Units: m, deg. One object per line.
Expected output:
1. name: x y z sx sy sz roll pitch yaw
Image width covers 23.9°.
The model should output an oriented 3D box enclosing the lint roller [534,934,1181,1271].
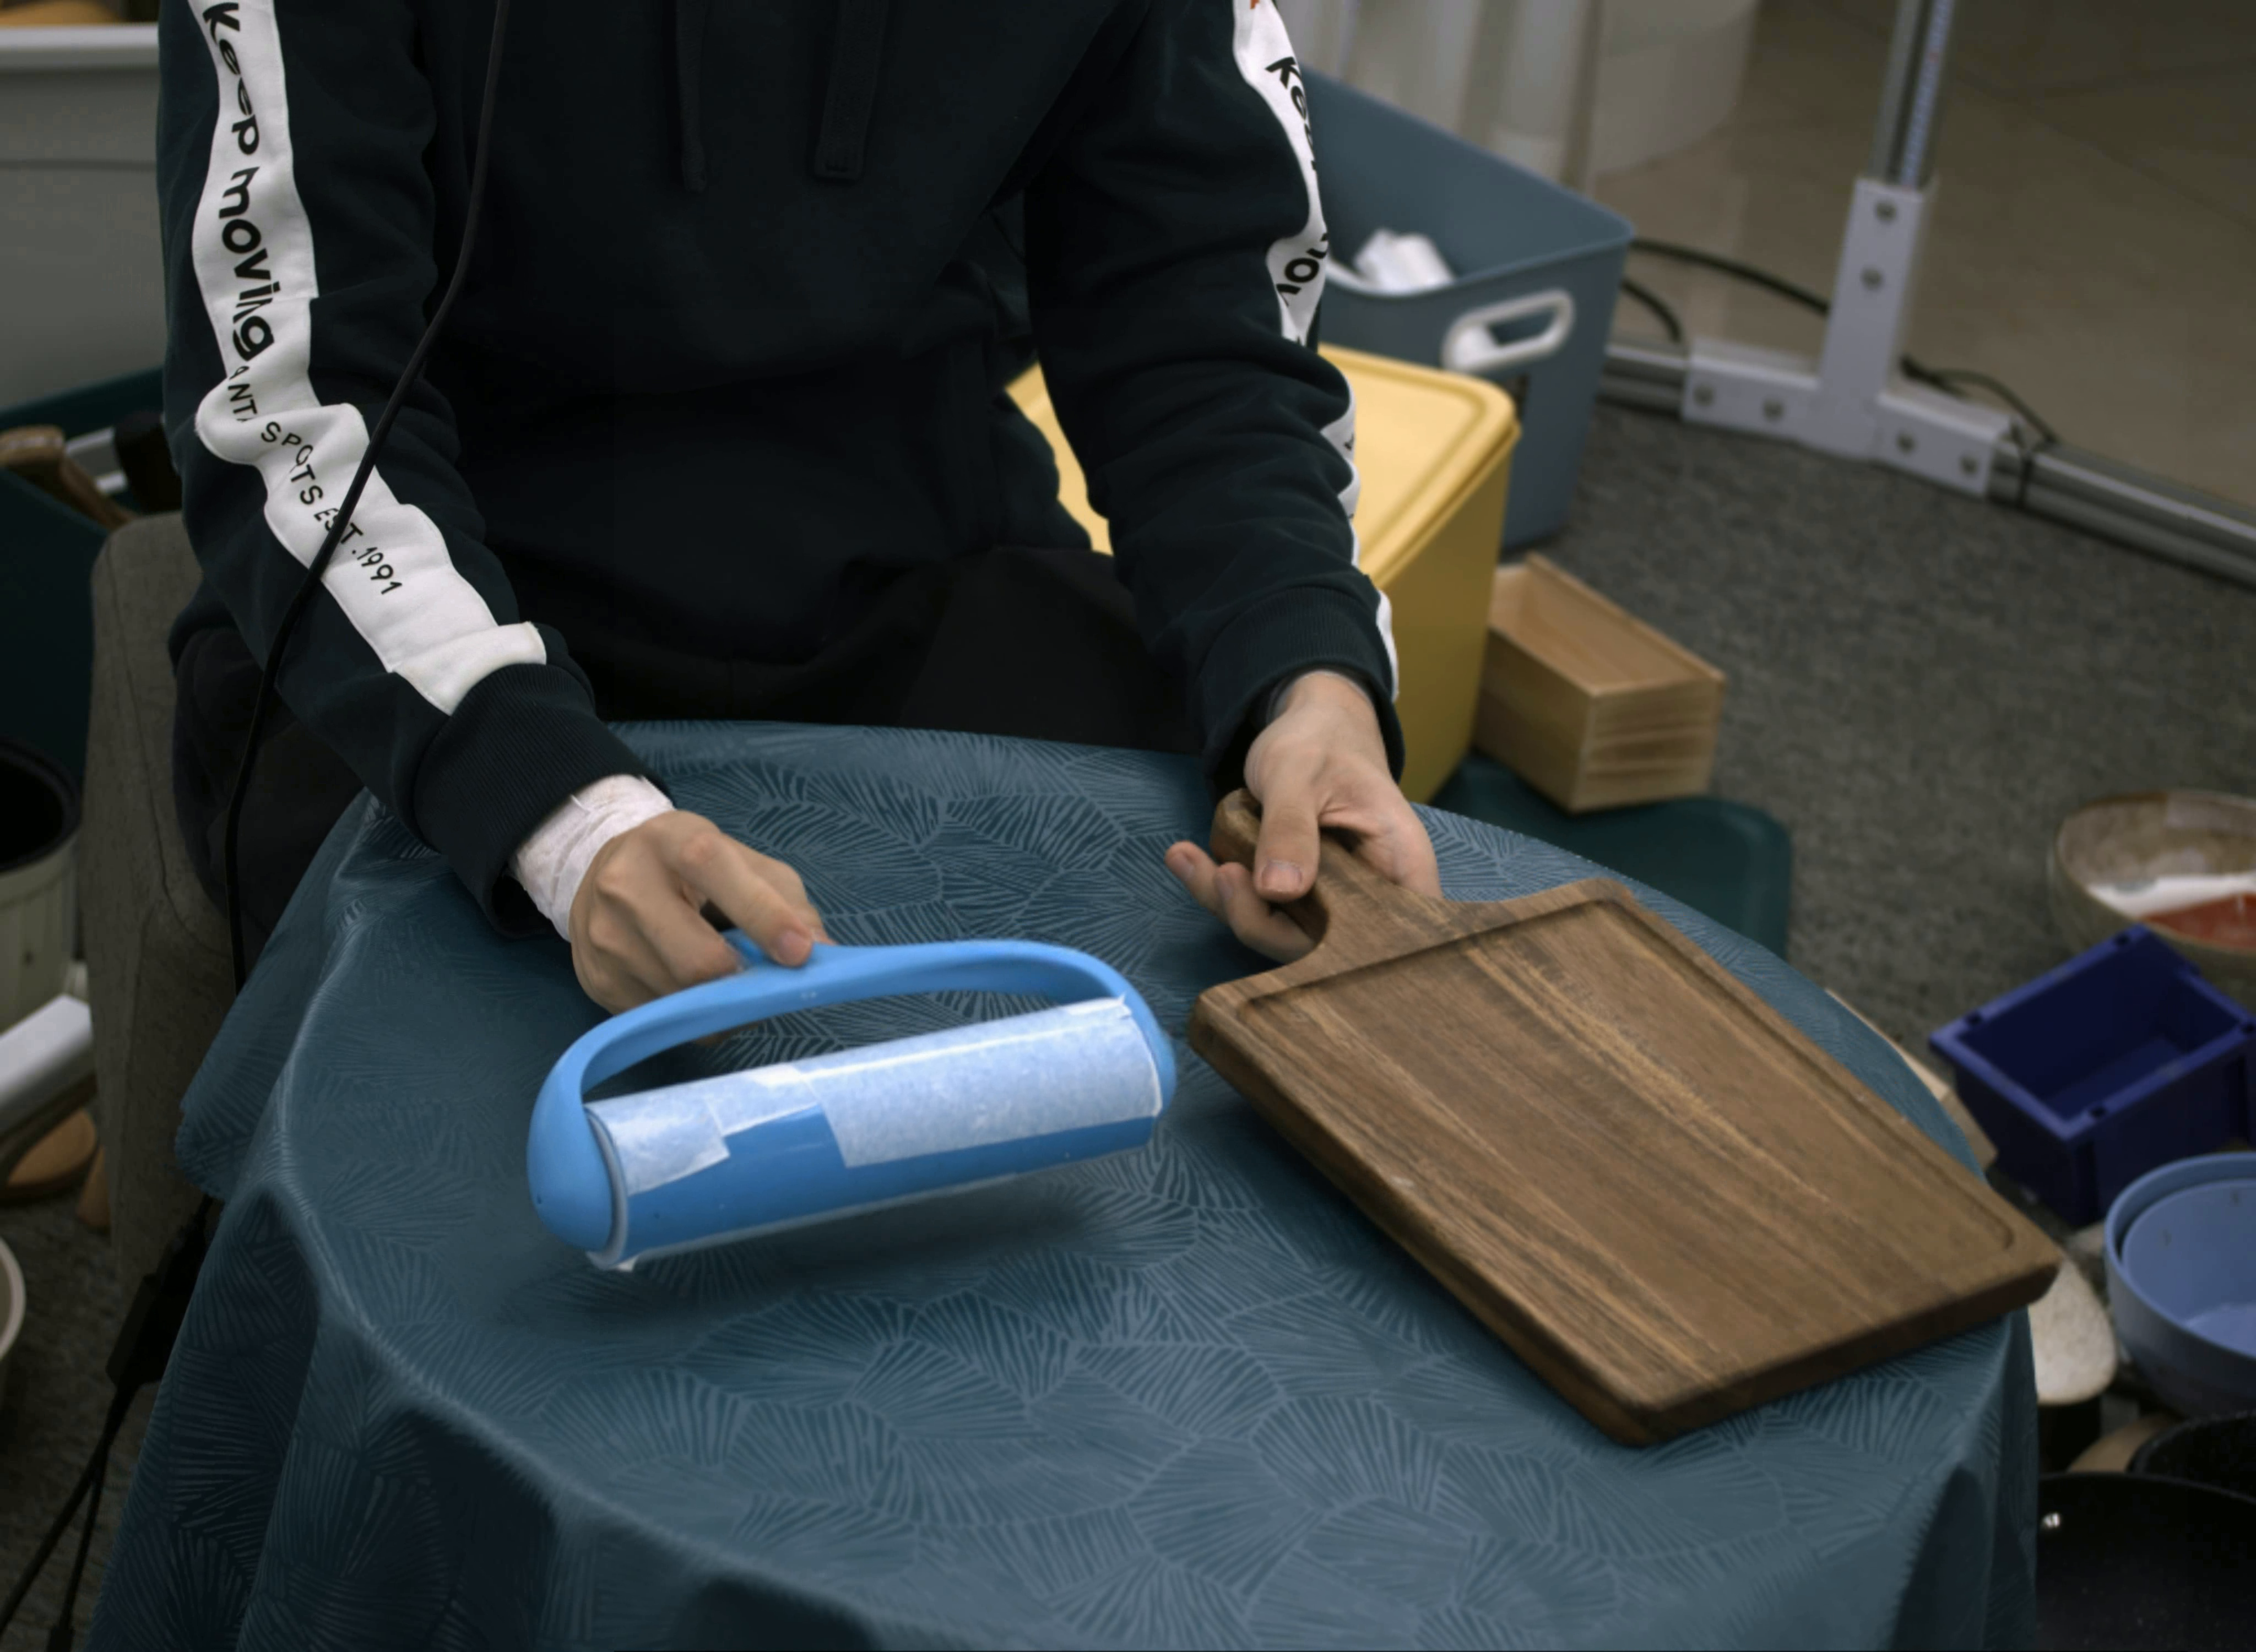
1. lint roller: -0.115 0.071 1.769 0.227 0.067 0.182 -14 33 -28

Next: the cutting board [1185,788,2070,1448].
1. cutting board: 0.139 0.082 1.846 0.200 0.023 0.355 -16 40 -33
